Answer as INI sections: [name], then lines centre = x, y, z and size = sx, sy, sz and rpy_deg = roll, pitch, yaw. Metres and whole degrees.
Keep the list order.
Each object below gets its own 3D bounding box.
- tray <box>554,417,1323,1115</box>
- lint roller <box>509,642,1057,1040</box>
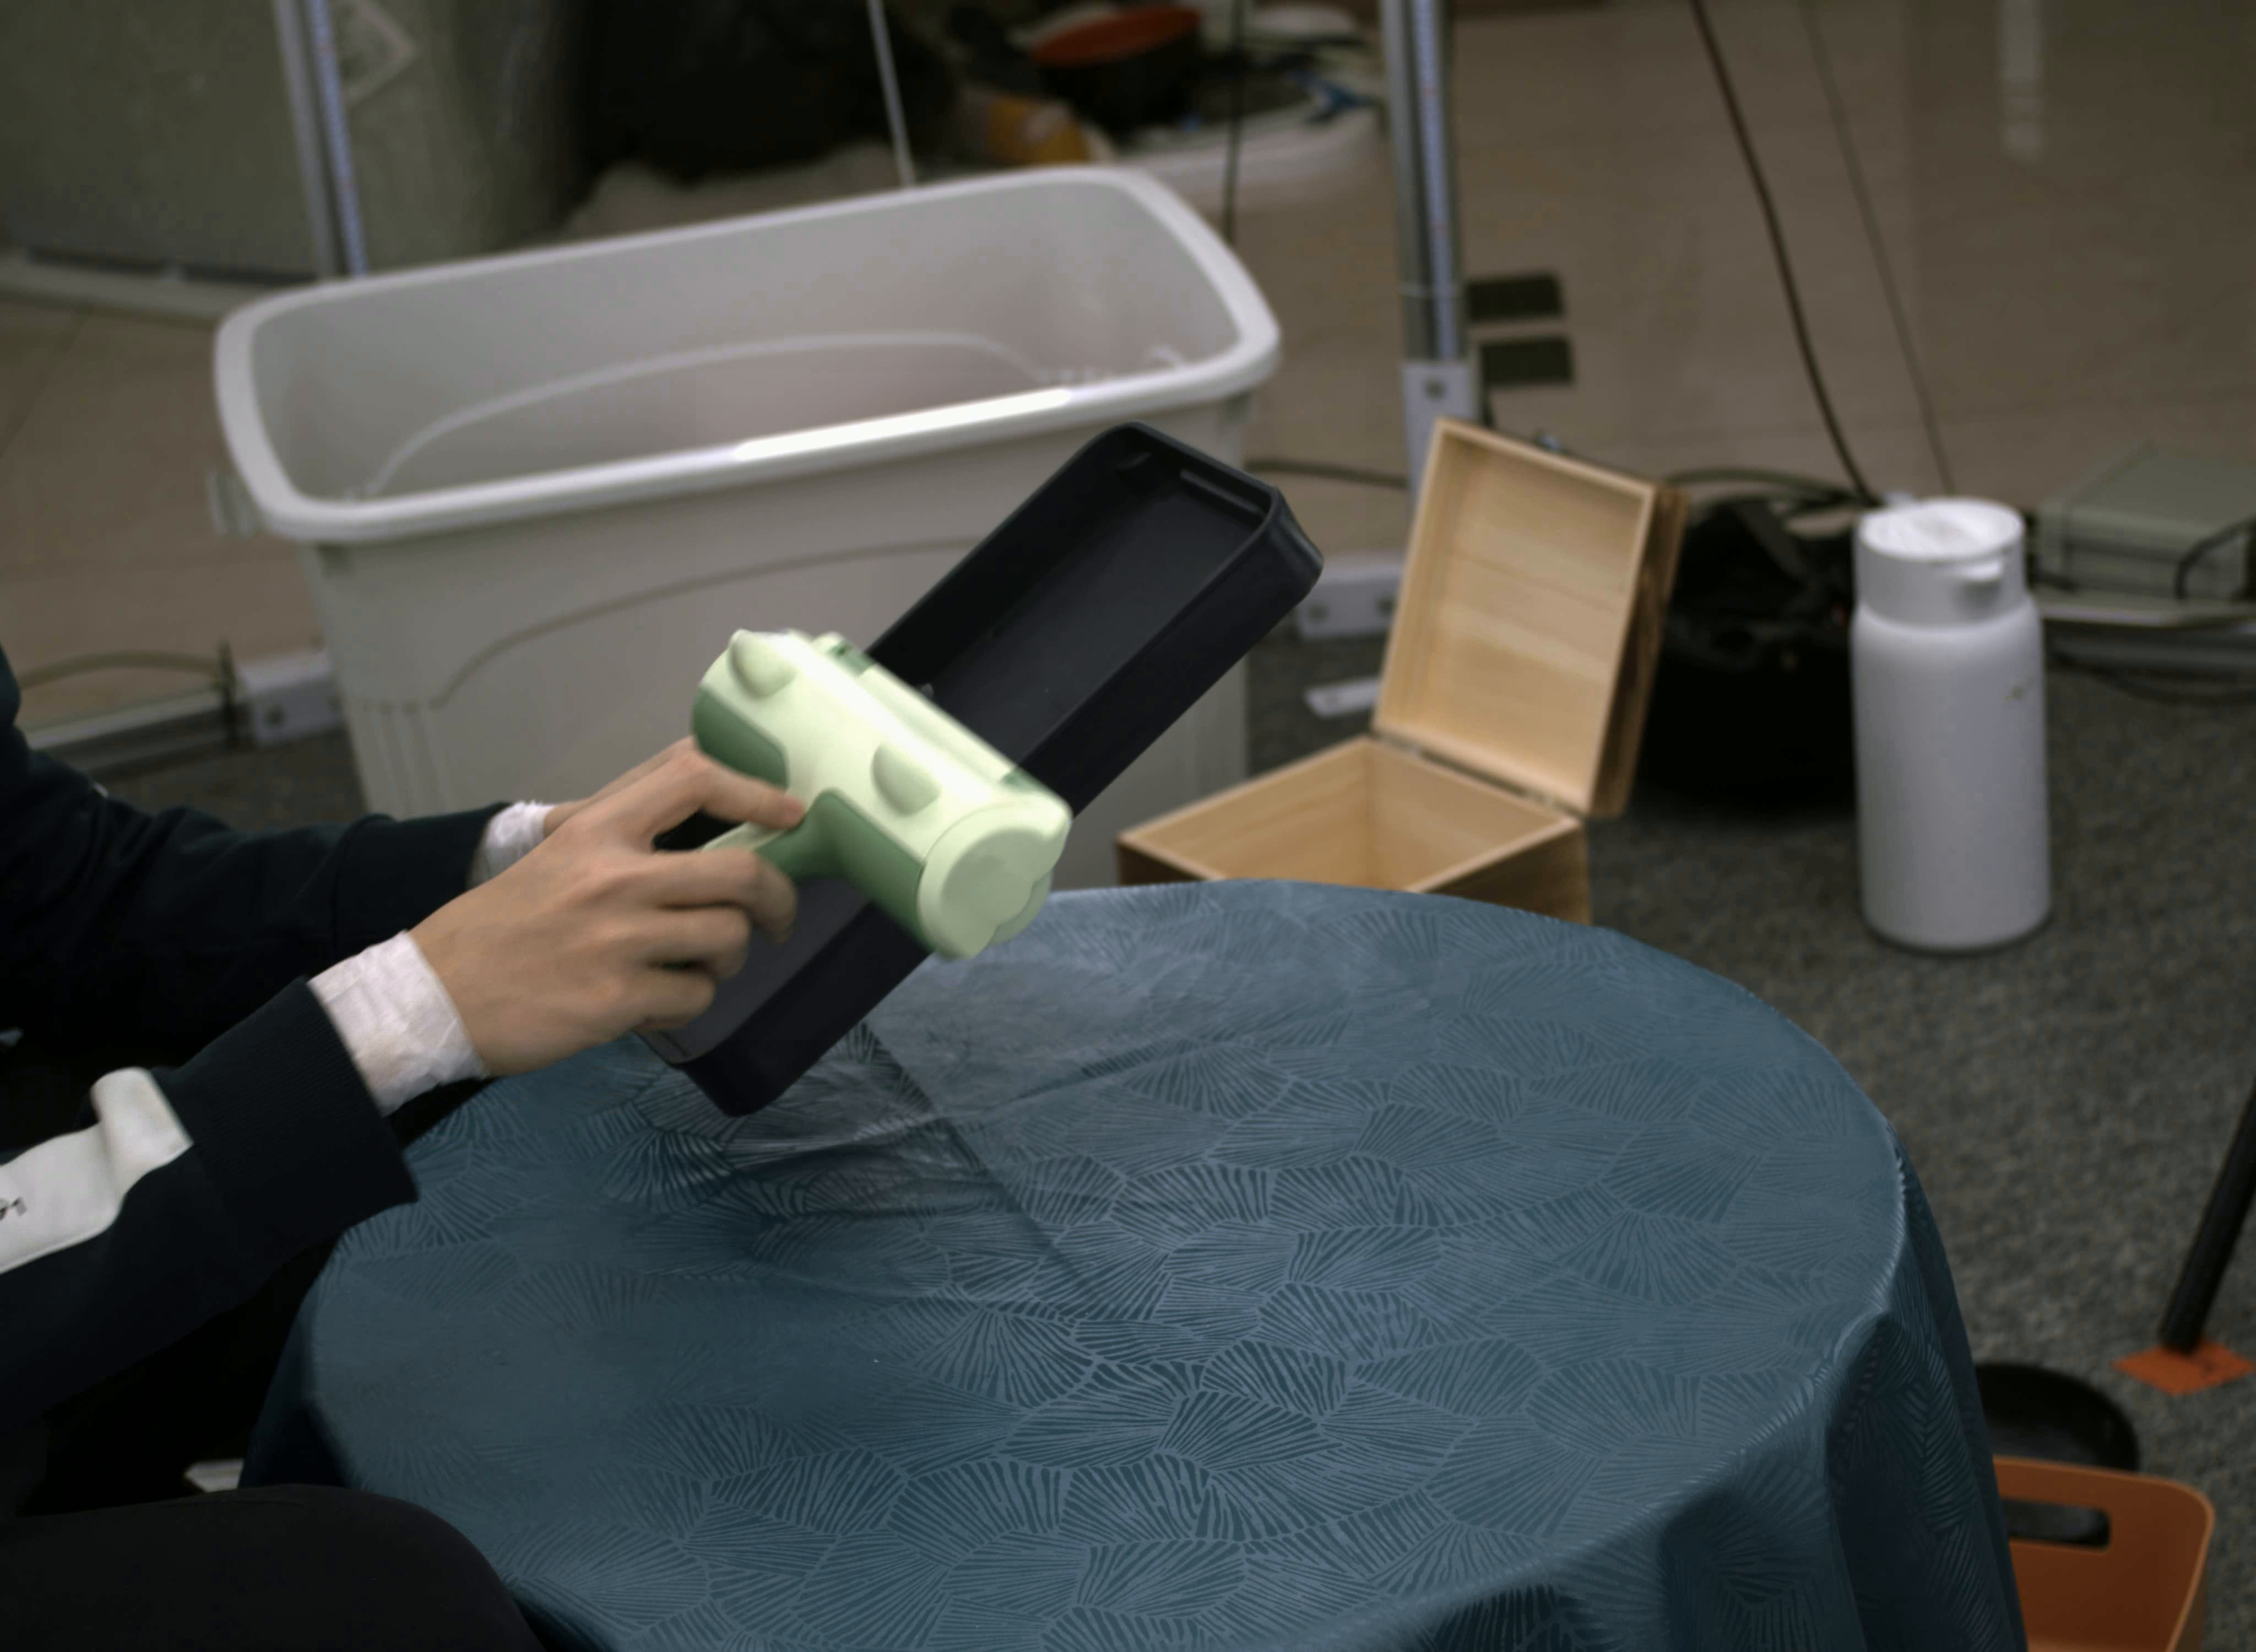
[tray]
centre = -0.075, -0.027, 2.190
size = 0.317, 0.037, 0.182
rpy_deg = -43, 26, -5
[lint roller]
centre = -0.146, 0.007, 2.019
size = 0.182, 0.083, 0.196
rpy_deg = -26, 34, -19
